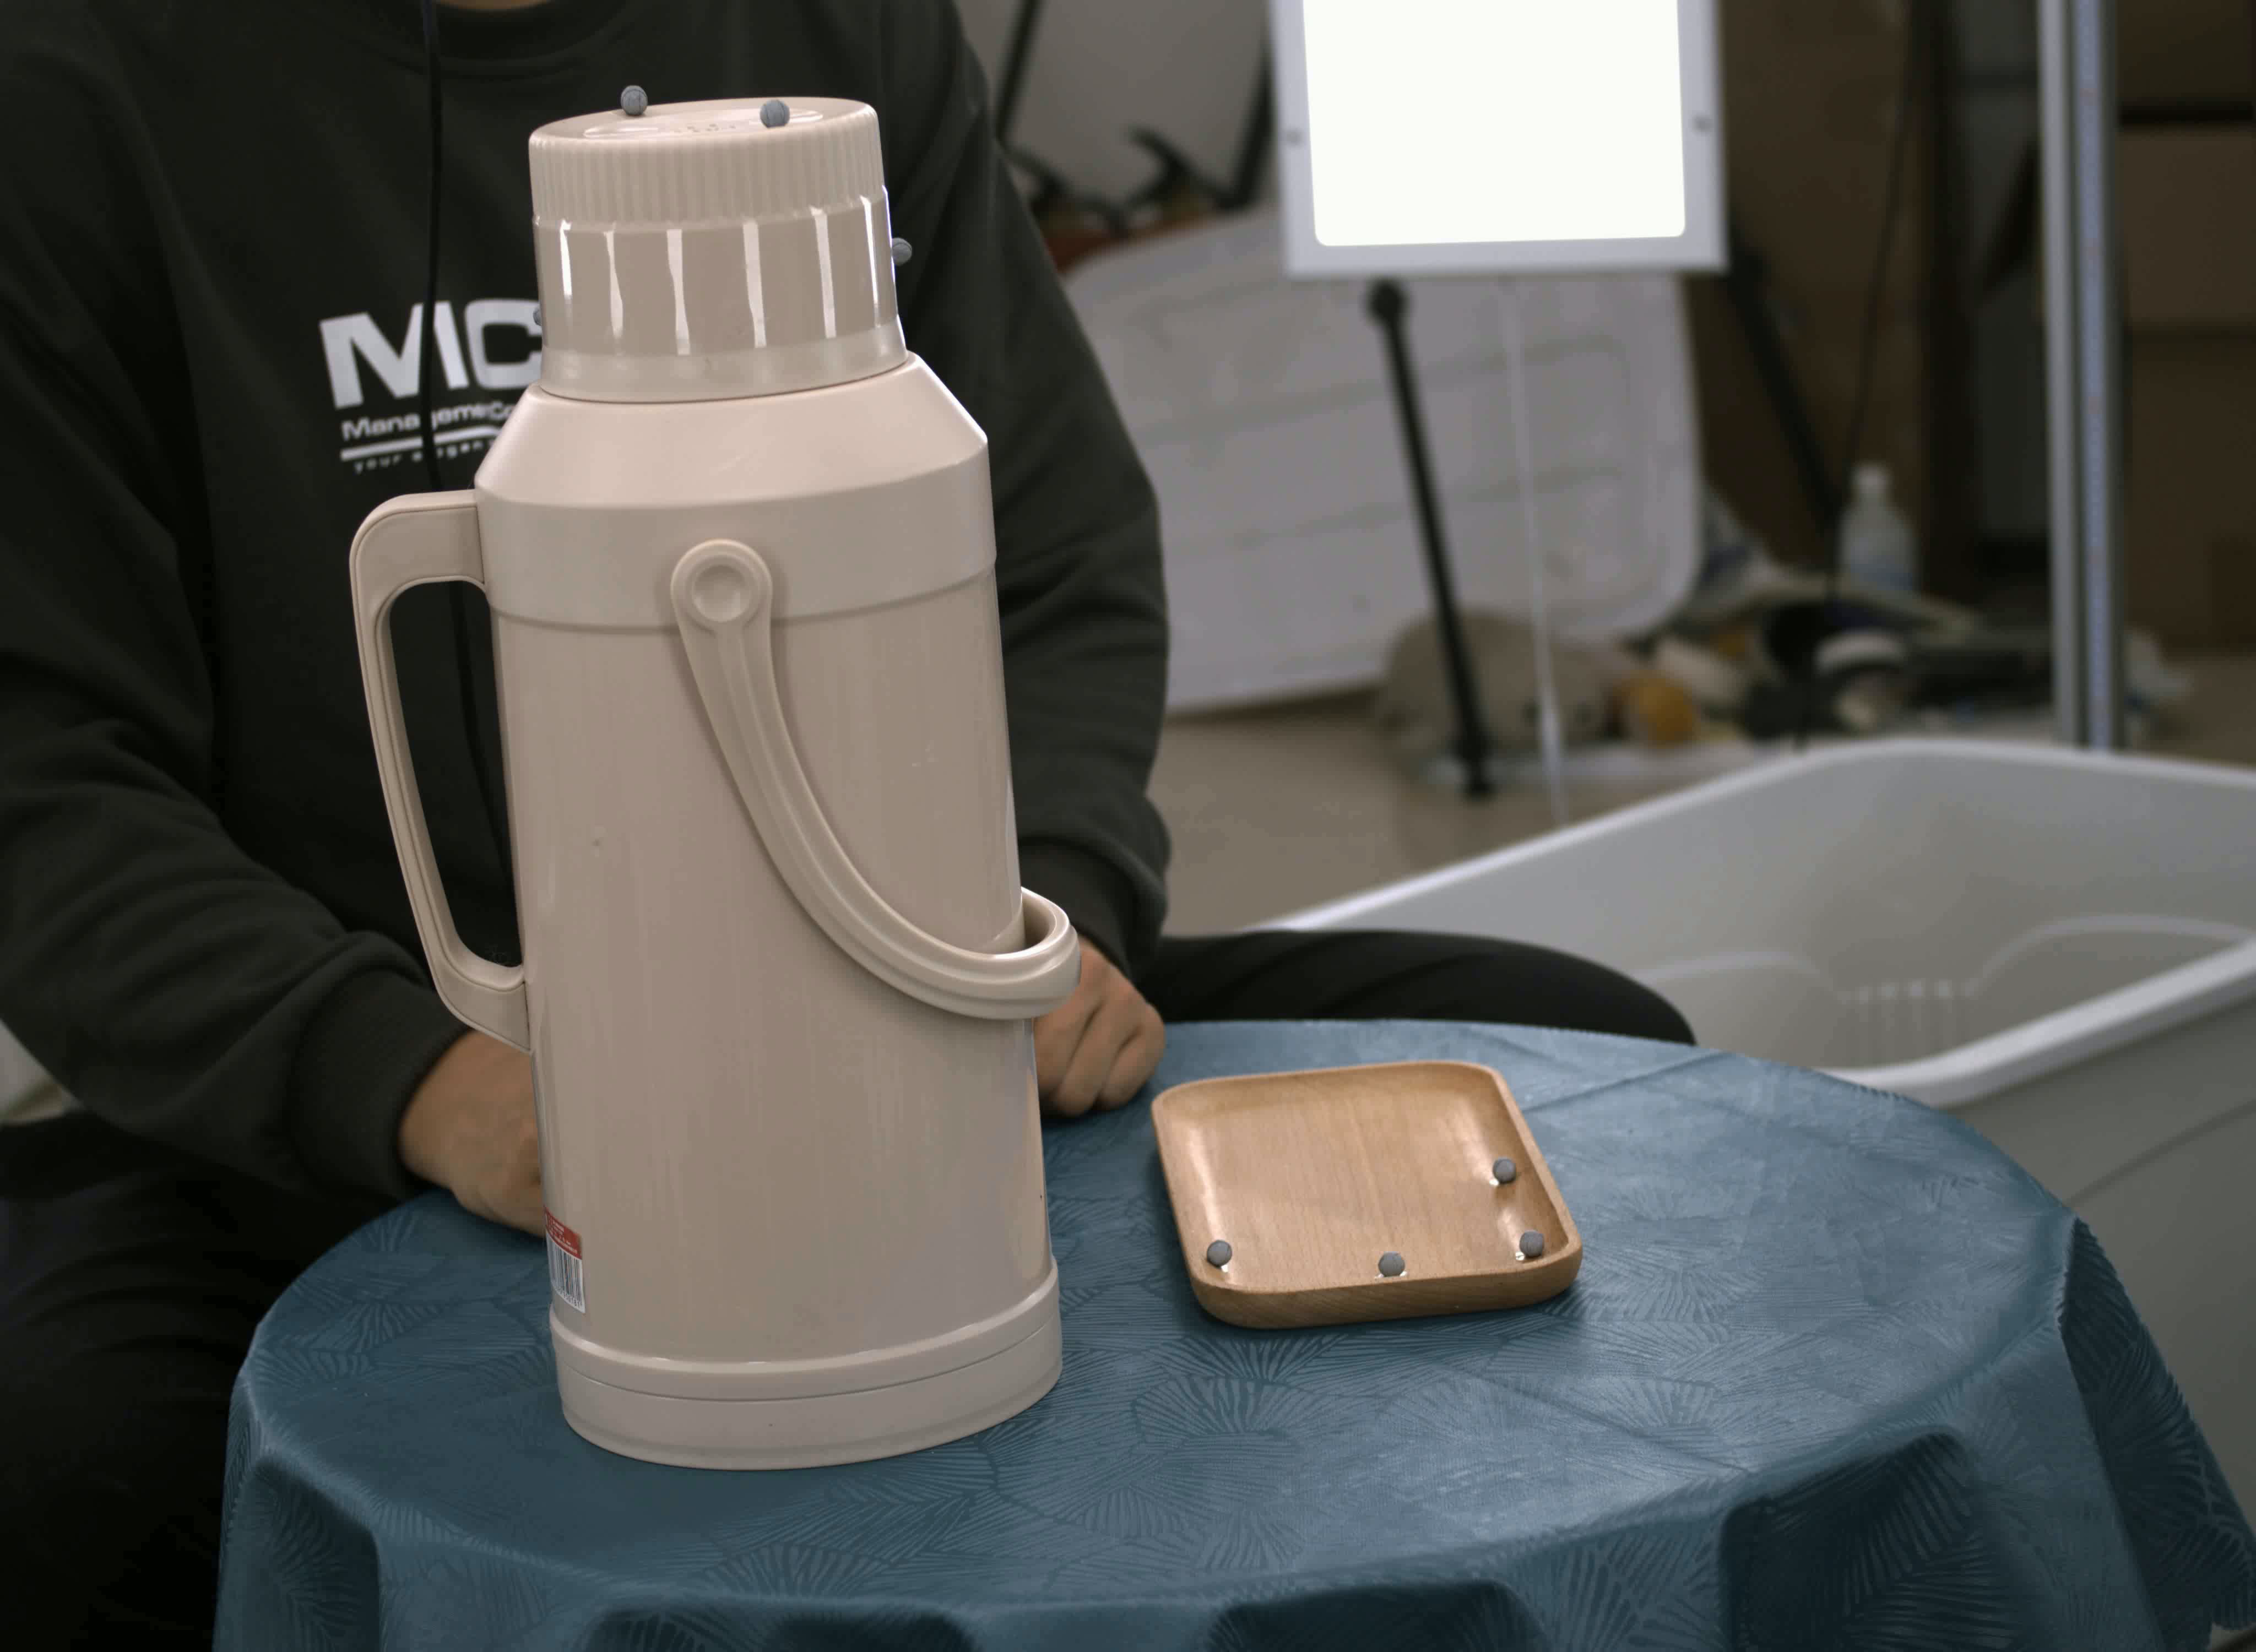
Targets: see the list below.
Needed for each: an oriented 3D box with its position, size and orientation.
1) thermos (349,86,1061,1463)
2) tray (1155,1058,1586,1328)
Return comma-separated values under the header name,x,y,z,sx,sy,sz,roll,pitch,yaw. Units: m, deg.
name,x,y,z,sx,sy,sz,roll,pitch,yaw
thermos,-0.128,-0.017,1.692,0.207,0.408,0.175,-4,15,1
tray,0.079,0.122,1.858,0.130,0.023,0.250,-3,12,-1
